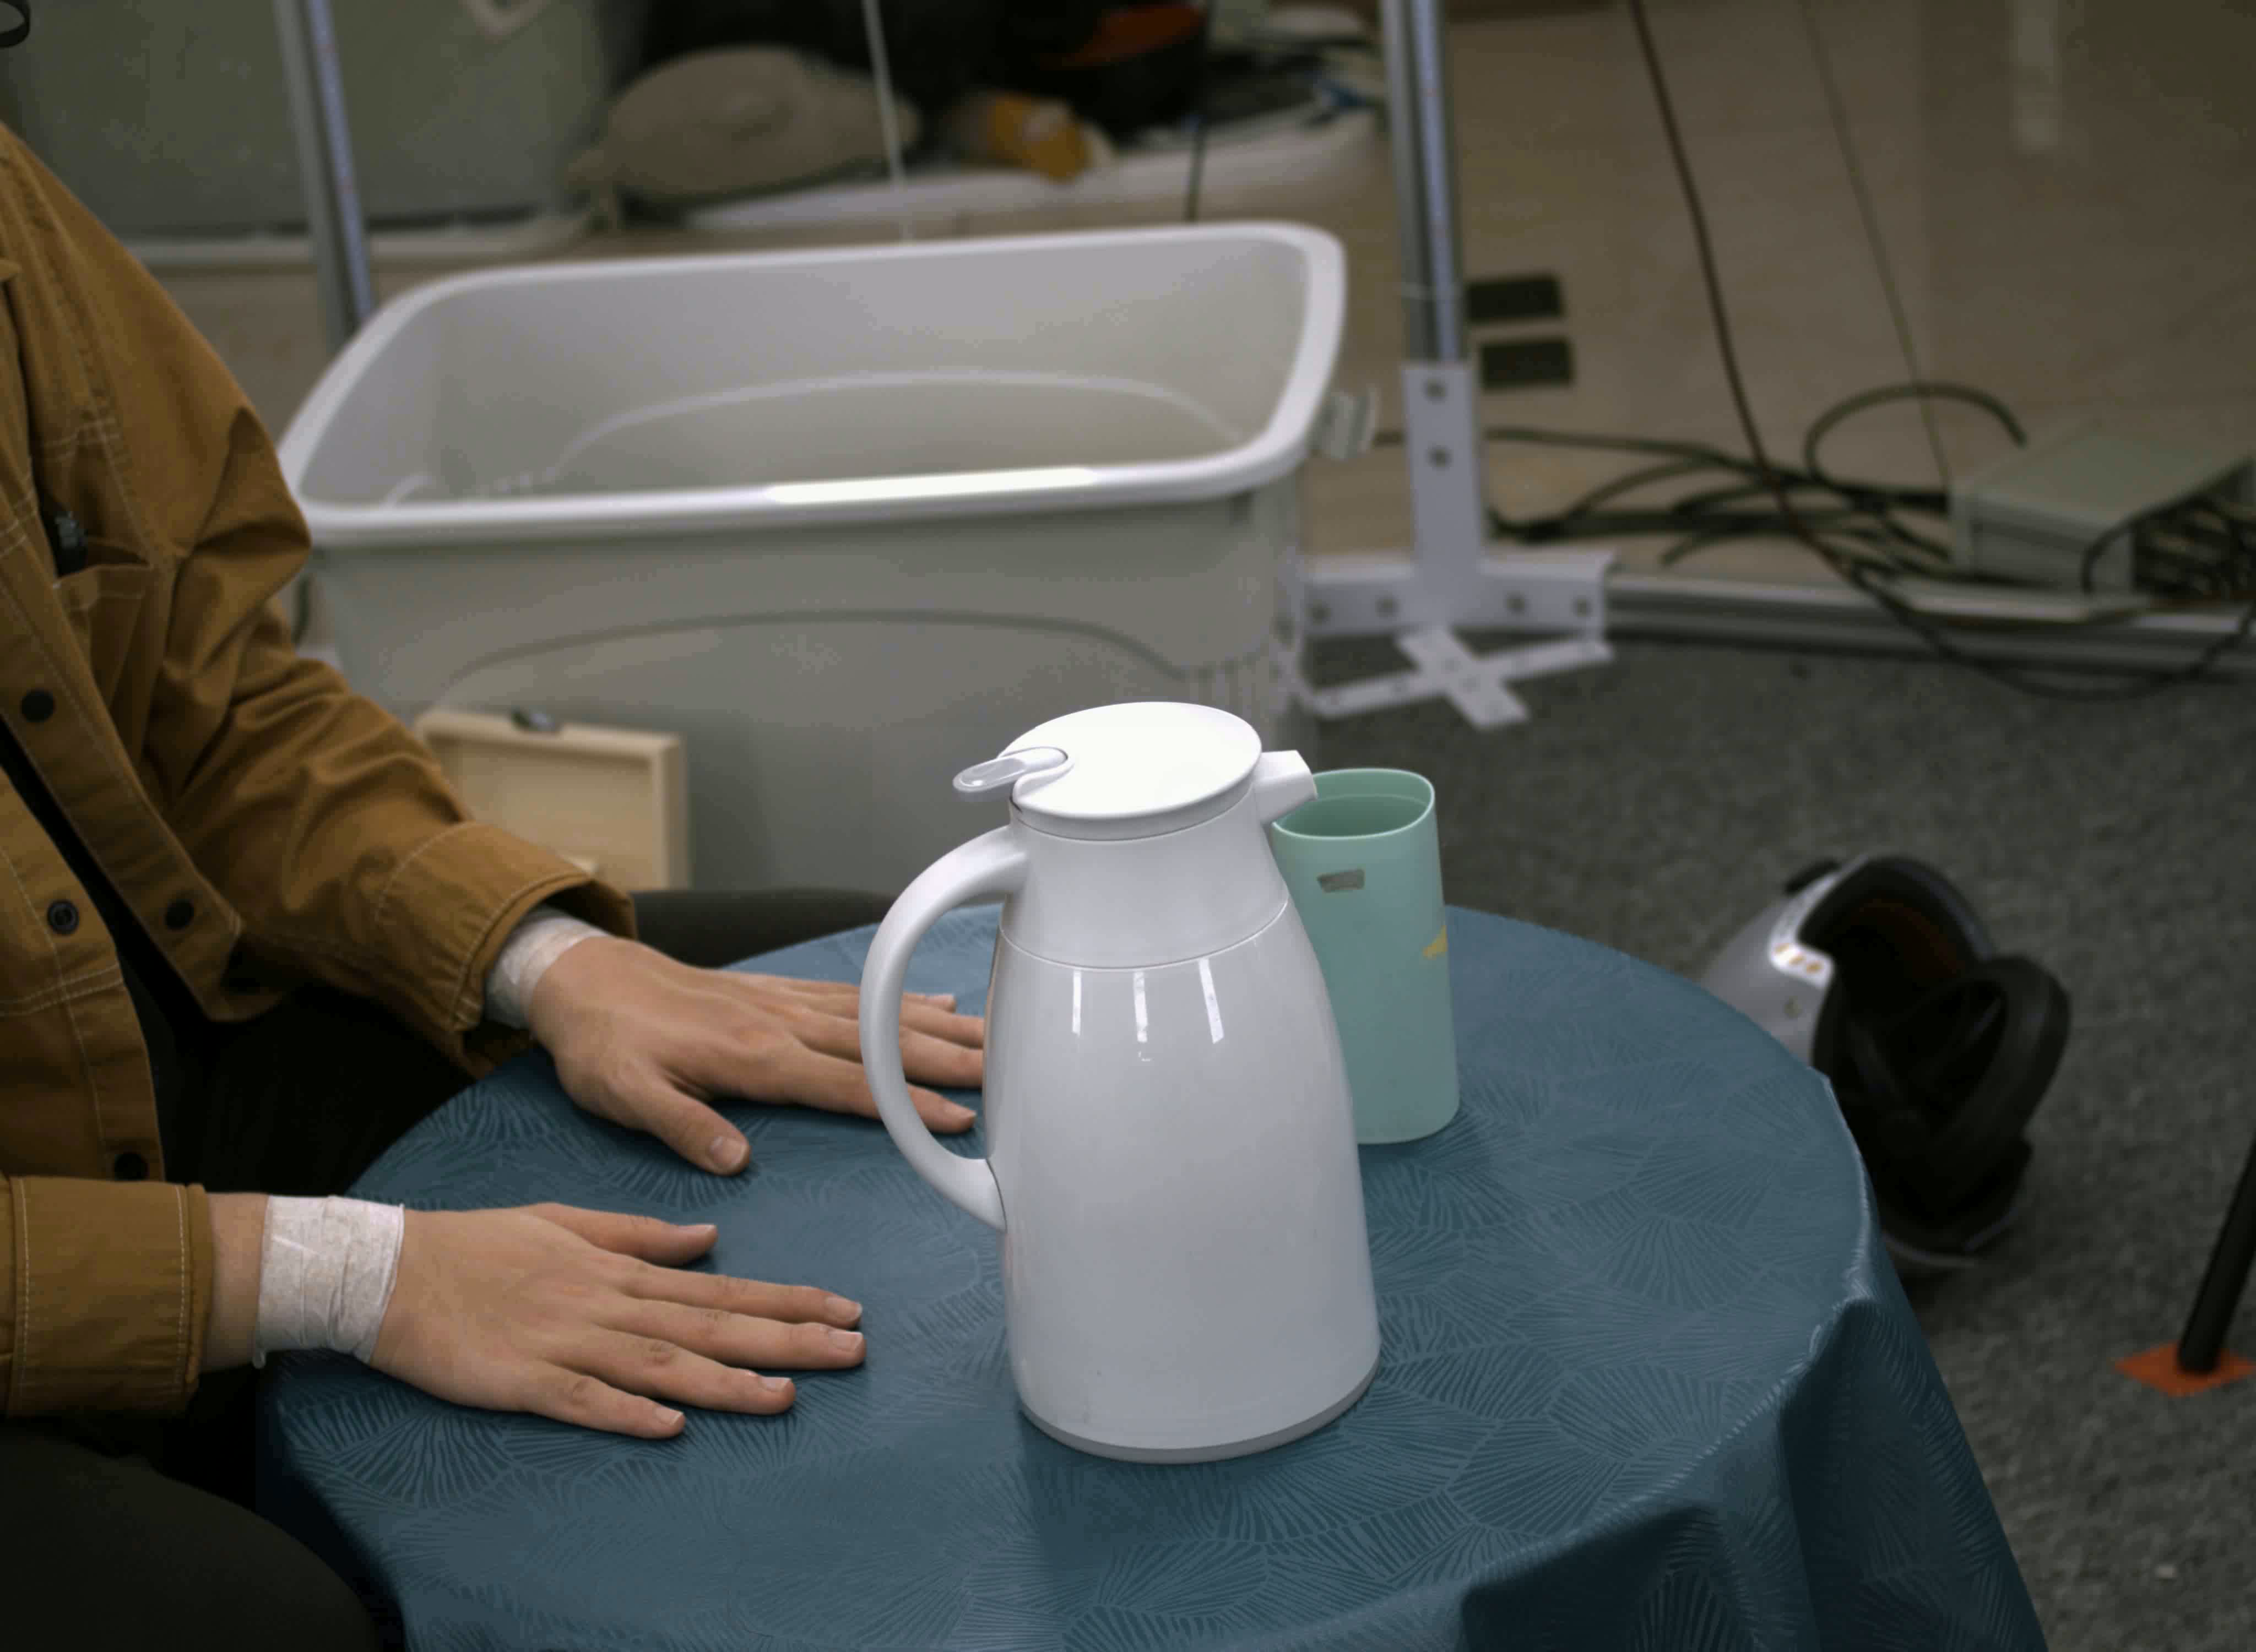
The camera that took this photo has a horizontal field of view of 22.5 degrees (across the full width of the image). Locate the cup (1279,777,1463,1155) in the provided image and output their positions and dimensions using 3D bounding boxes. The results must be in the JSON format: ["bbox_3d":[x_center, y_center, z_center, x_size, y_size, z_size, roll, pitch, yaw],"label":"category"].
[{"bbox_3d":[0.092,0.053,2.163,0.066,0.134,0.066,-5,26,2],"label":"cup"}]

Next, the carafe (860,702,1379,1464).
[{"bbox_3d":[-0.006,0.086,1.967,0.167,0.252,0.130,-12,27,-10],"label":"carafe"}]
